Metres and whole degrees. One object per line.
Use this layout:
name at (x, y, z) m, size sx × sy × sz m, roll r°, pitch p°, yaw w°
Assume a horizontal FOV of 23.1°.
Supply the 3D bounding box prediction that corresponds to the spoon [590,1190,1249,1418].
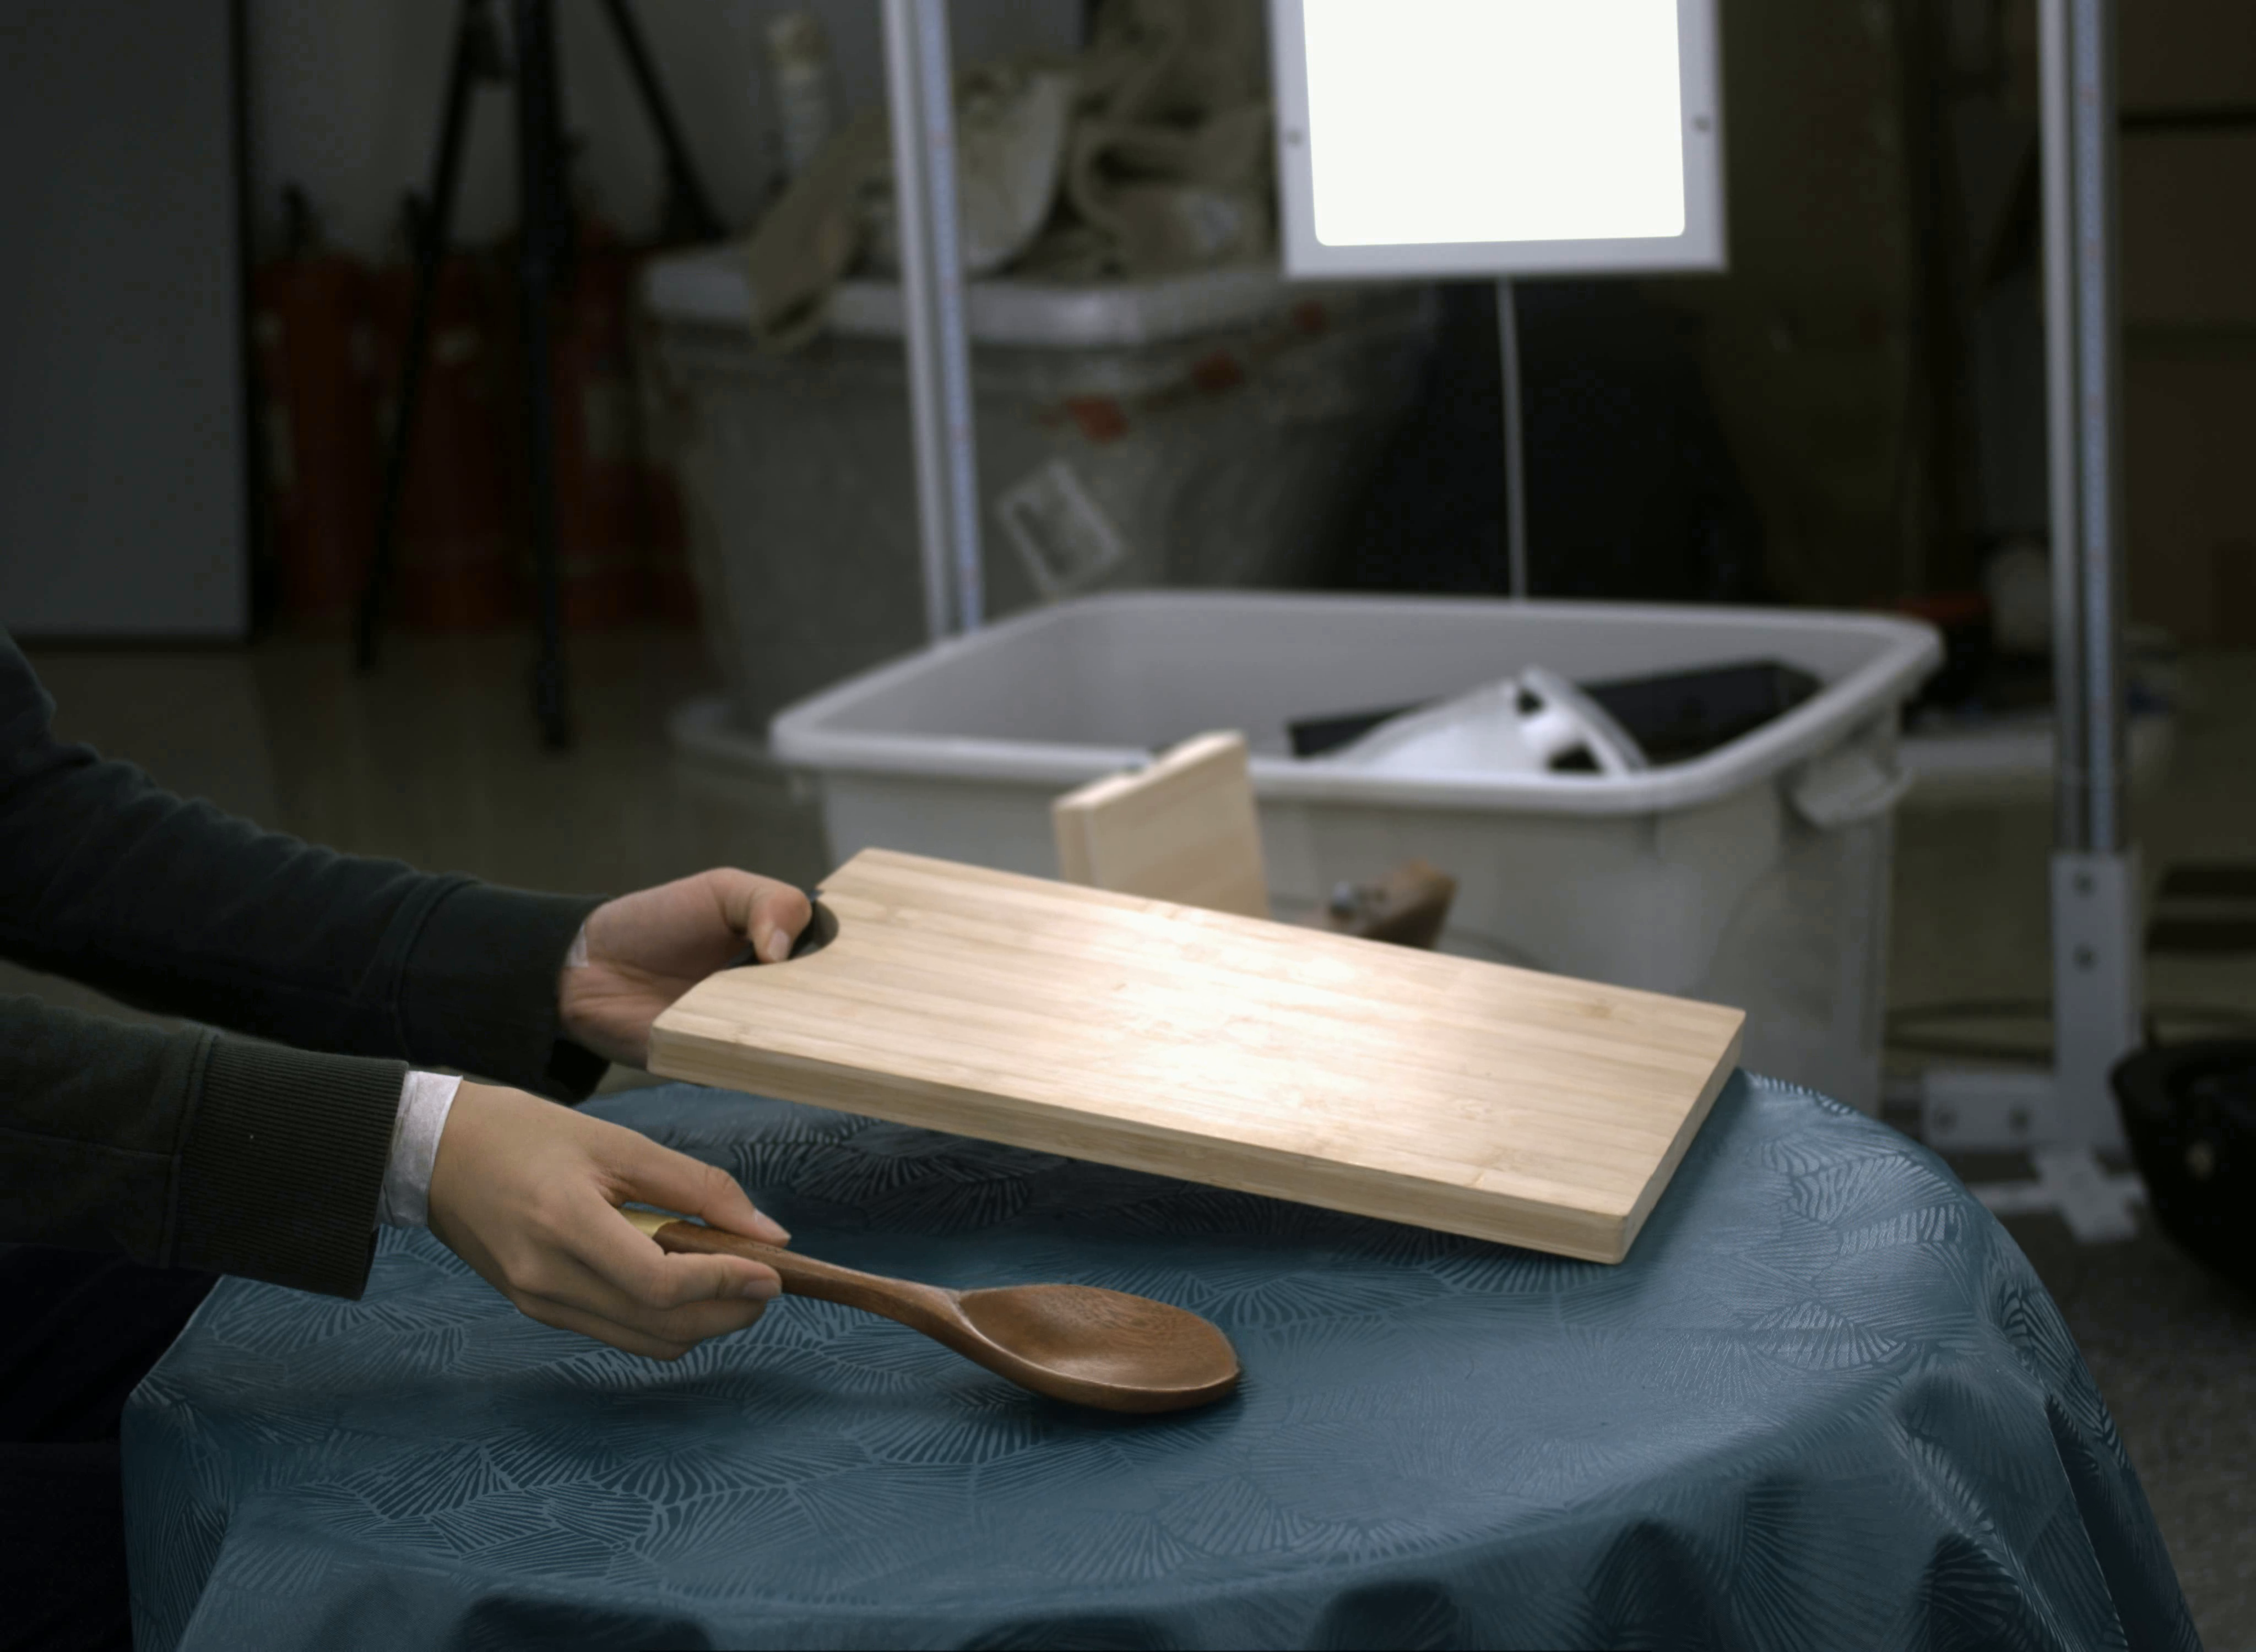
spoon at (-0.066, 0.148, 1.716) m, size 0.217 × 0.017 × 0.074 m, roll 14°, pitch 22°, yaw 15°

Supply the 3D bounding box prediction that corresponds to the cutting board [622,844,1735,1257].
cutting board at (0.024, 0.074, 1.931) m, size 0.351 × 0.024 × 0.247 m, roll 10°, pitch 16°, yaw 14°
